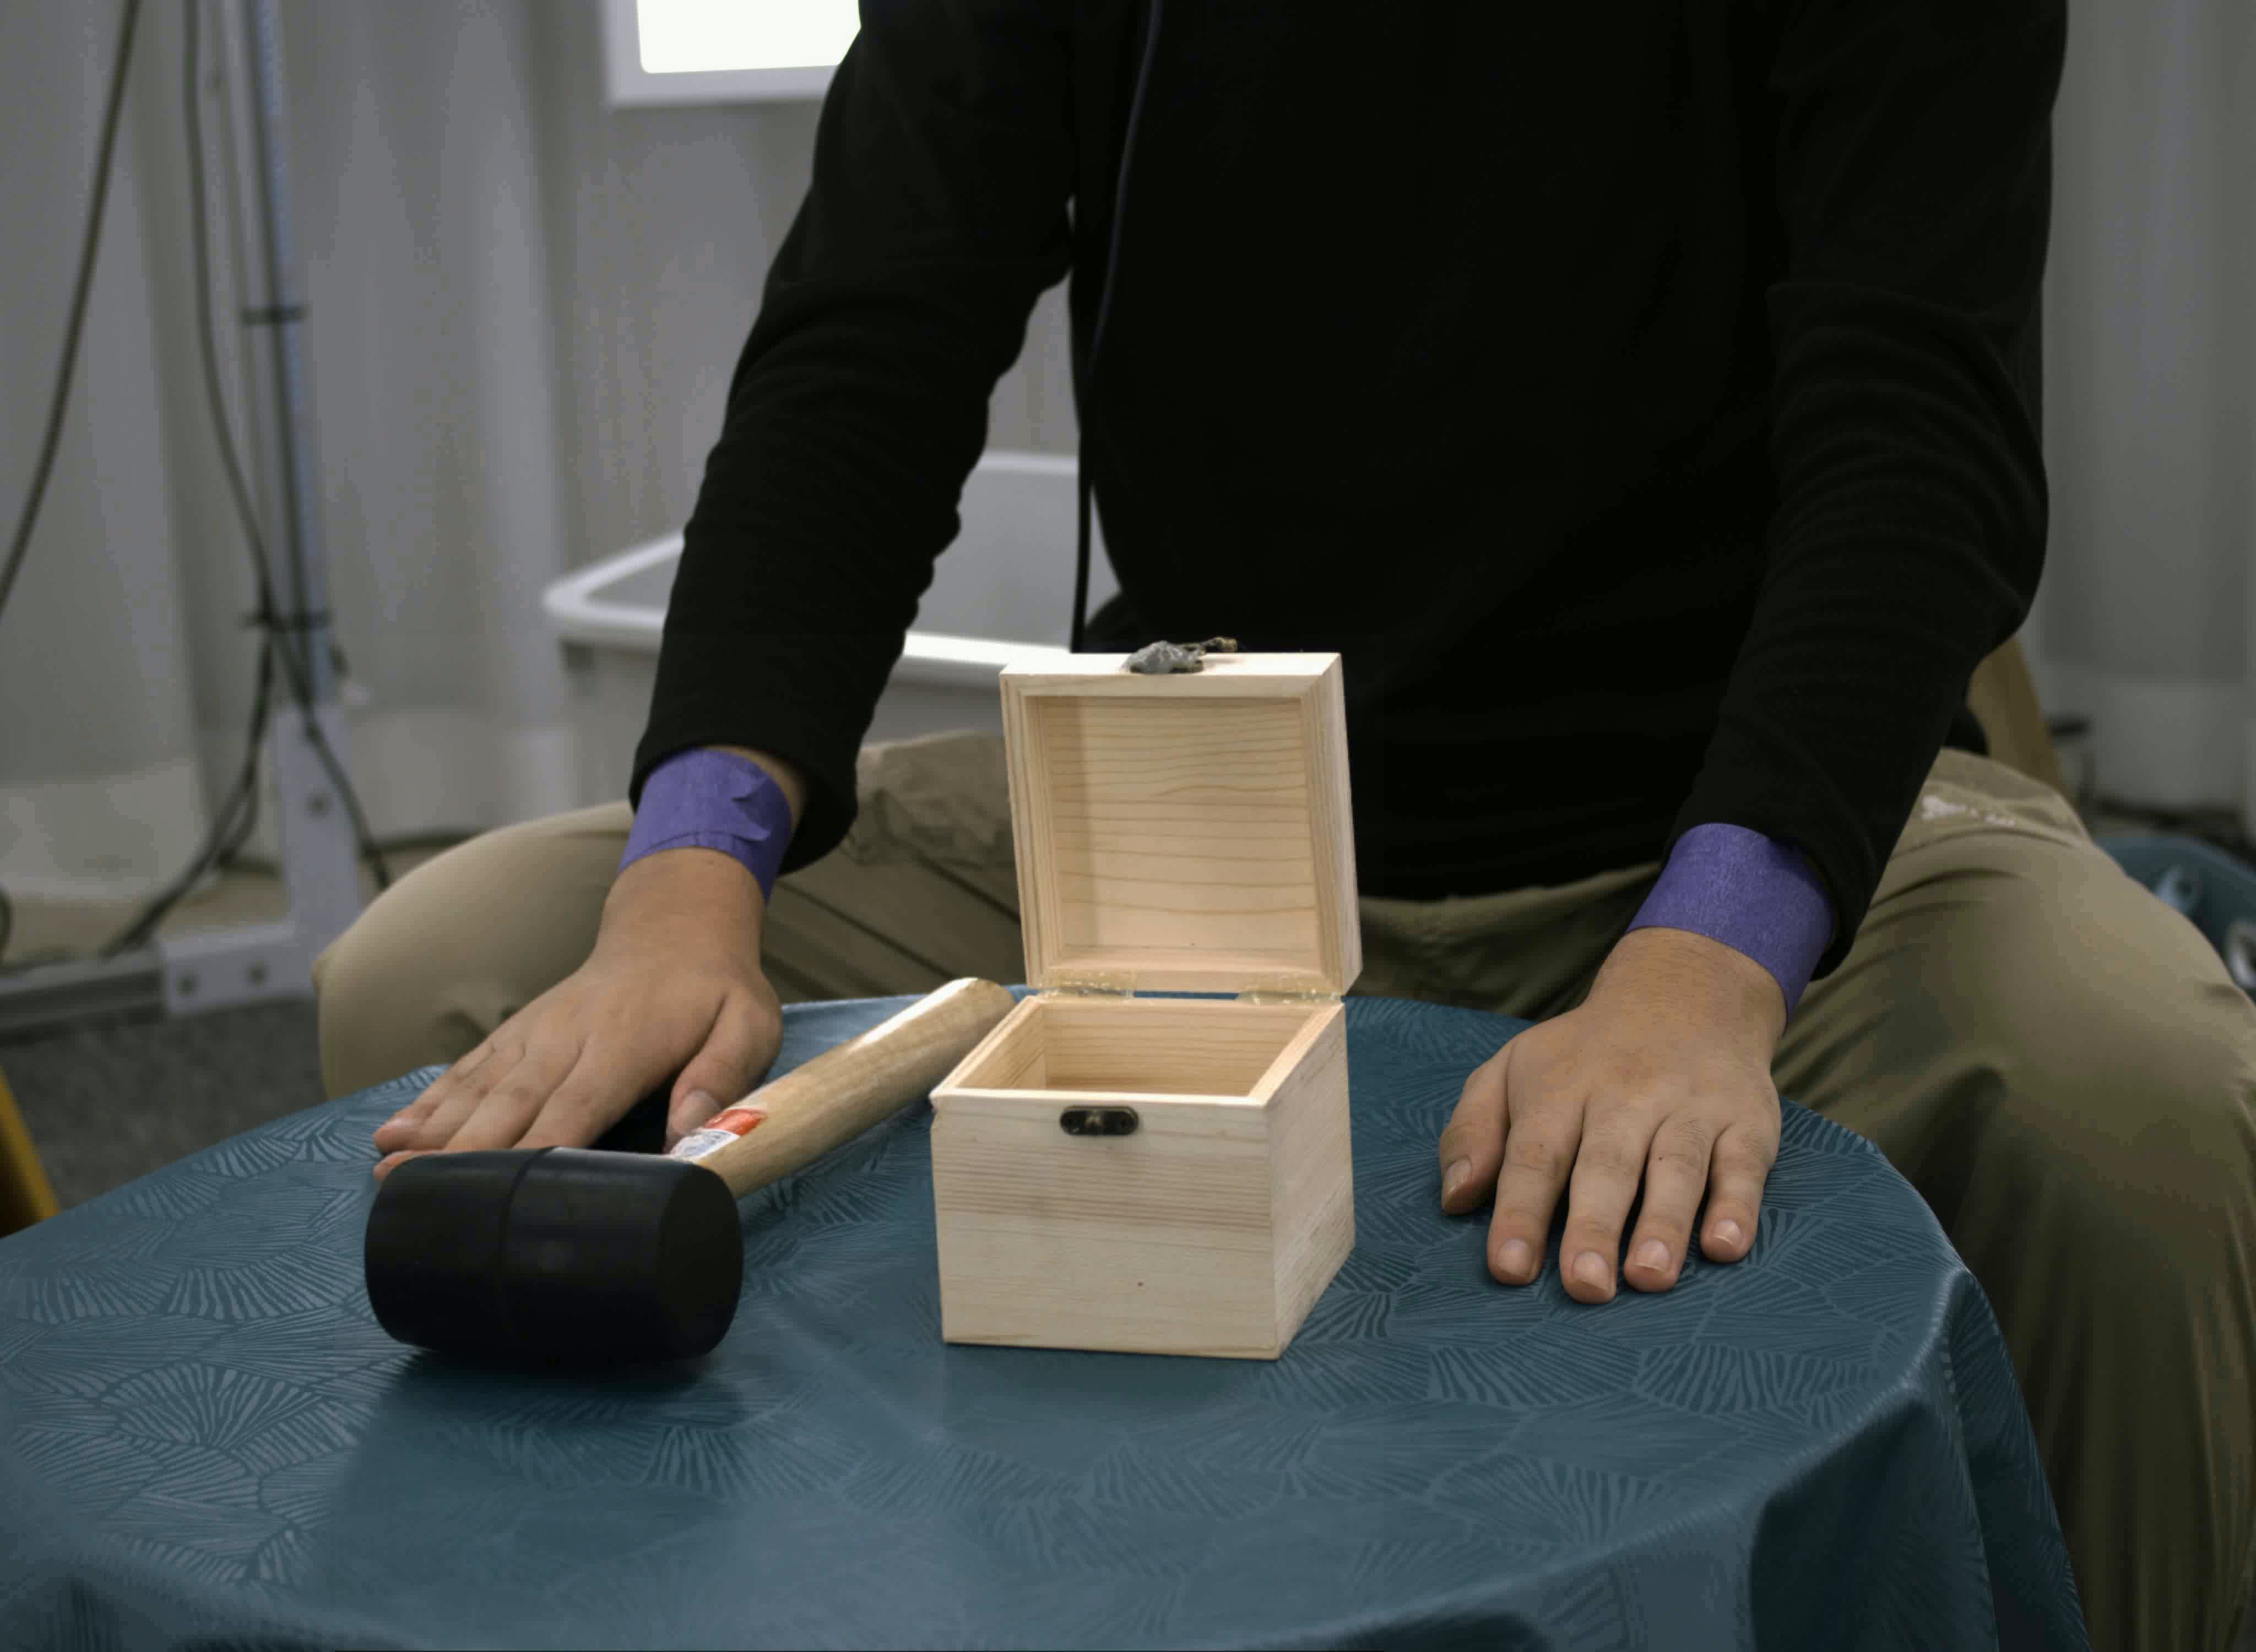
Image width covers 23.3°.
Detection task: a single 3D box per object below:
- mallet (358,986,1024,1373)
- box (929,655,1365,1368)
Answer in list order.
[{"bbox_3d":[-0.115,0.092,1.707,0.102,0.064,0.340,5,16,23],"label":"mallet"},{"bbox_3d":[0.006,0.050,1.609,0.102,0.184,0.134,2,12,15],"label":"box"}]
